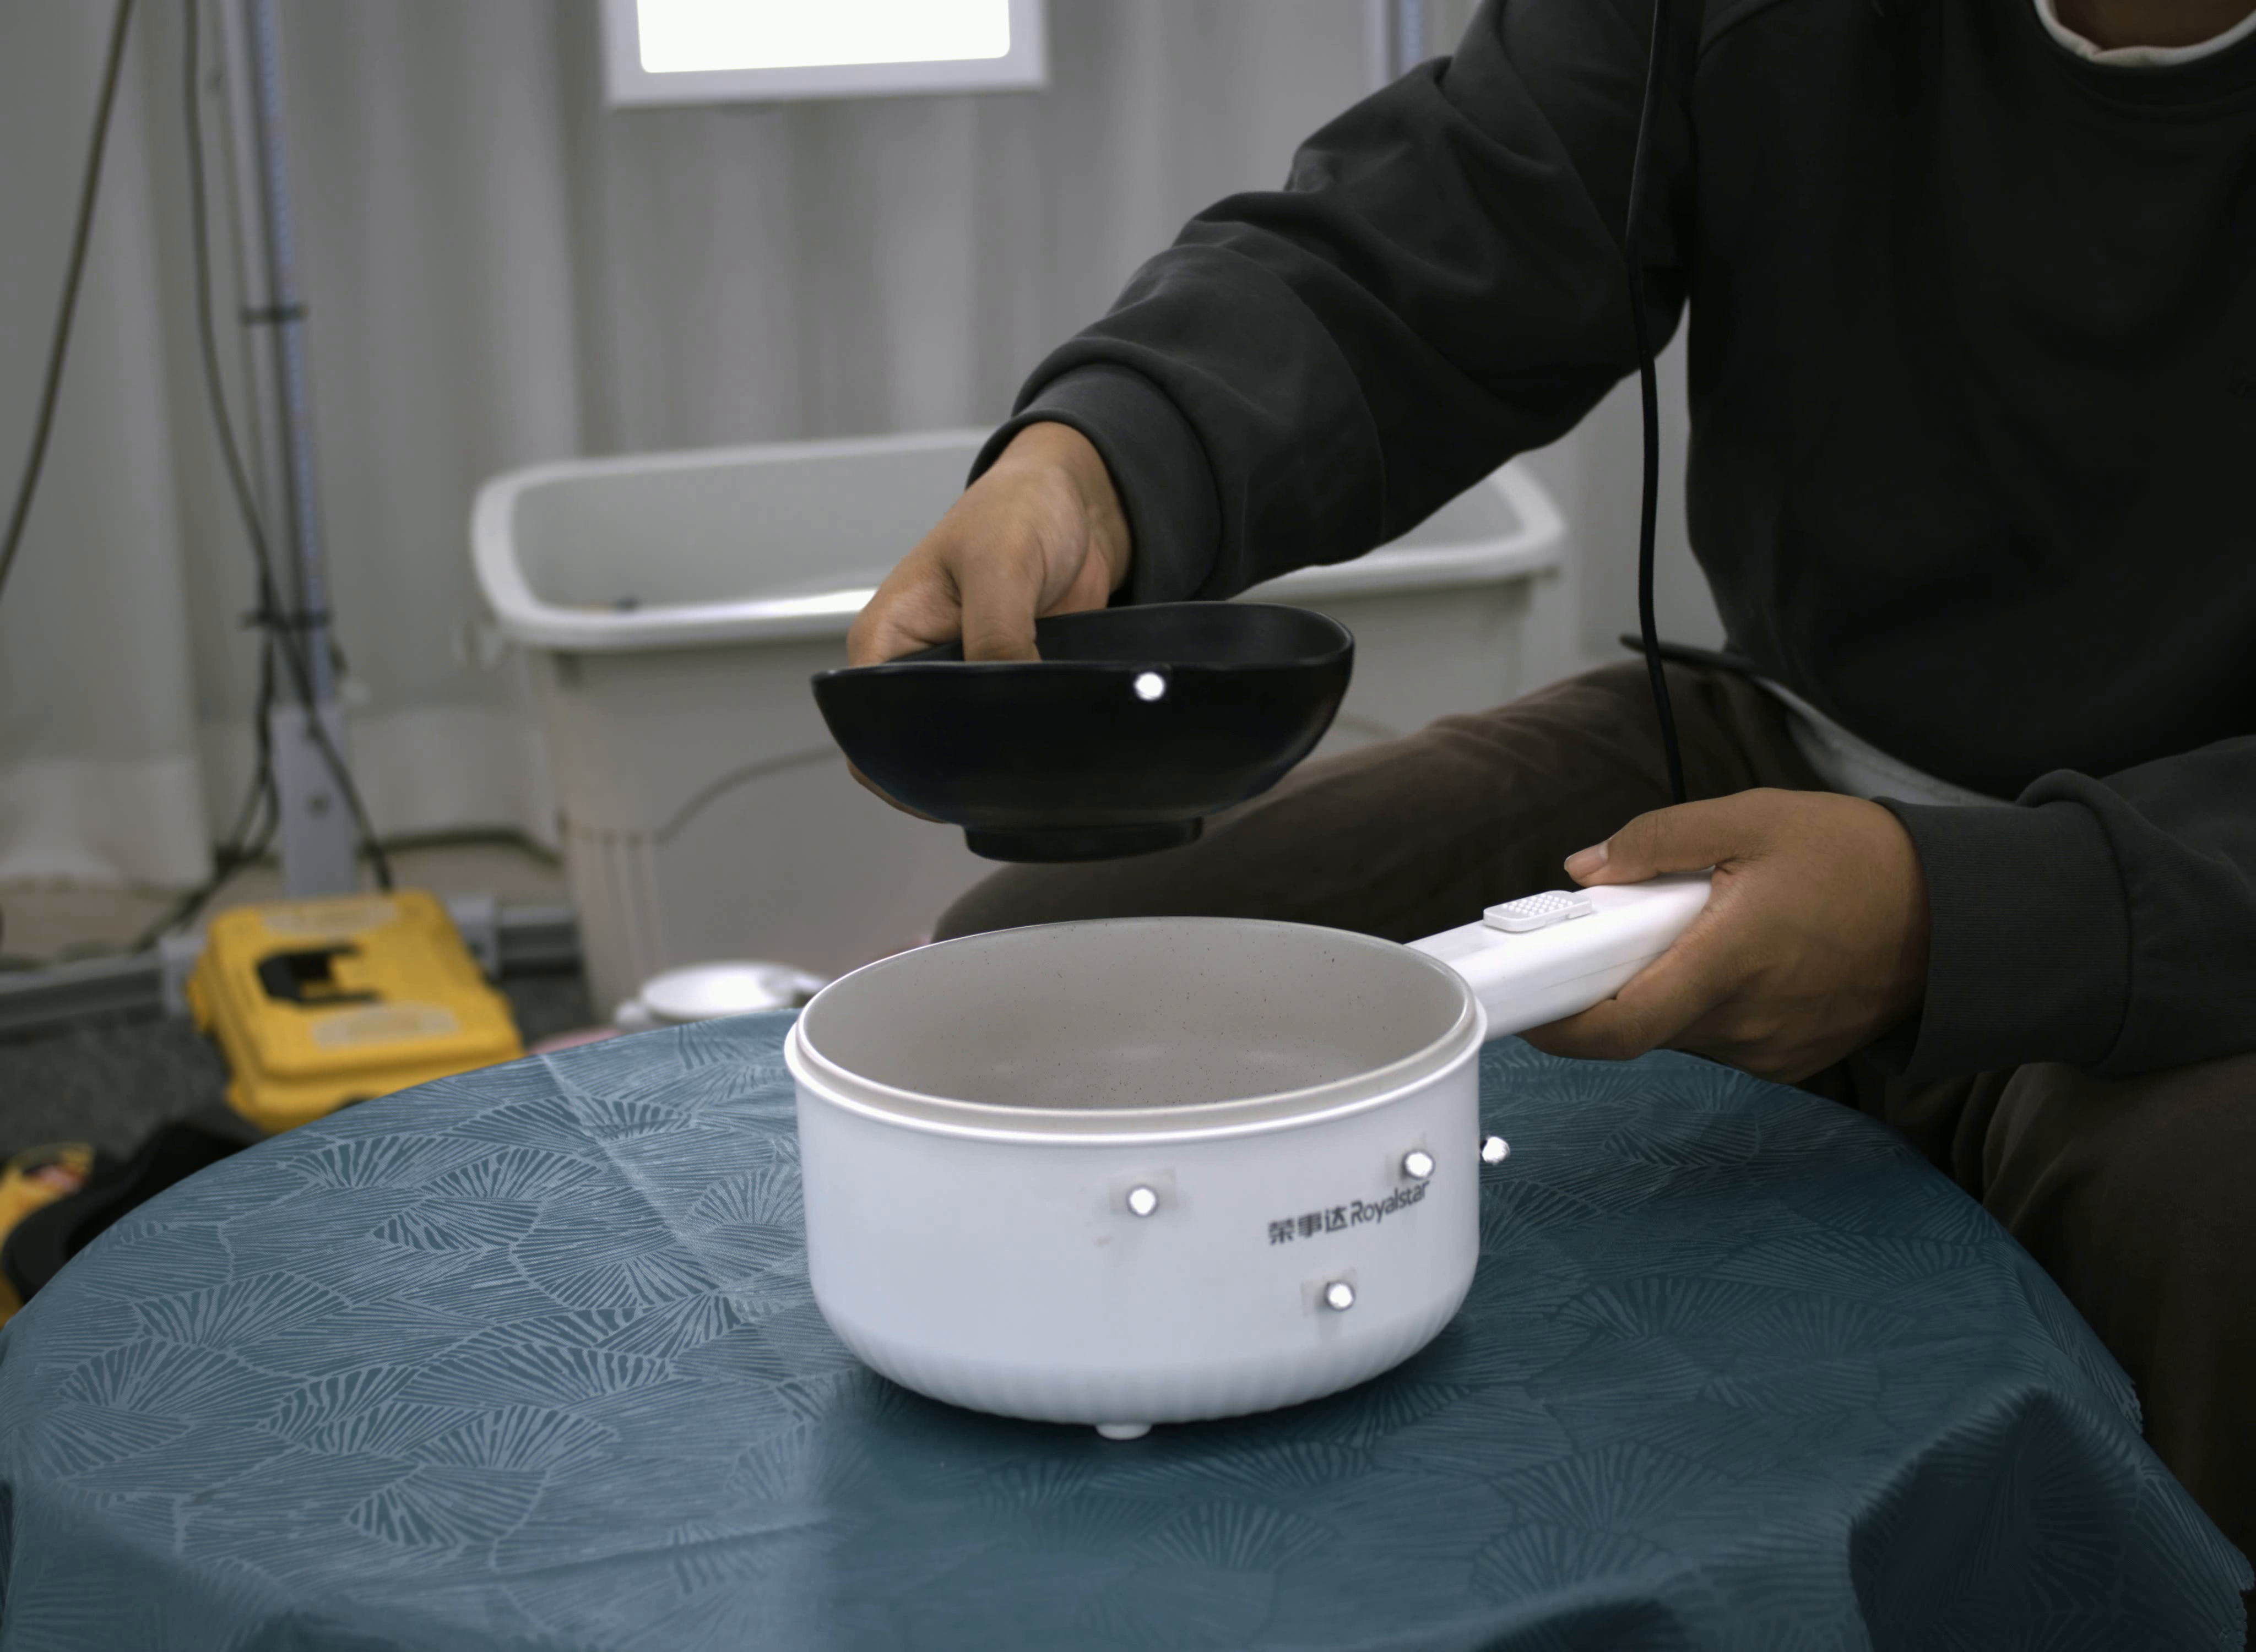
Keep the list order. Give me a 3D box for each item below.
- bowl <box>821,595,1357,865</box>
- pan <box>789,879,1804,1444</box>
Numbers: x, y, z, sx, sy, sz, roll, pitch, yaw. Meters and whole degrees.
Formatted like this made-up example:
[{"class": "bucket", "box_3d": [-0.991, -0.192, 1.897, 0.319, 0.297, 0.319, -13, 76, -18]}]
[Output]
[{"class": "bowl", "box_3d": [-0.012, -0.026, 1.604, 0.170, 0.066, 0.137, 0, 9, 31]}, {"class": "pan", "box_3d": [0.063, 0.092, 1.621, 0.353, 0.102, 0.202, -12, 15, -38]}]
